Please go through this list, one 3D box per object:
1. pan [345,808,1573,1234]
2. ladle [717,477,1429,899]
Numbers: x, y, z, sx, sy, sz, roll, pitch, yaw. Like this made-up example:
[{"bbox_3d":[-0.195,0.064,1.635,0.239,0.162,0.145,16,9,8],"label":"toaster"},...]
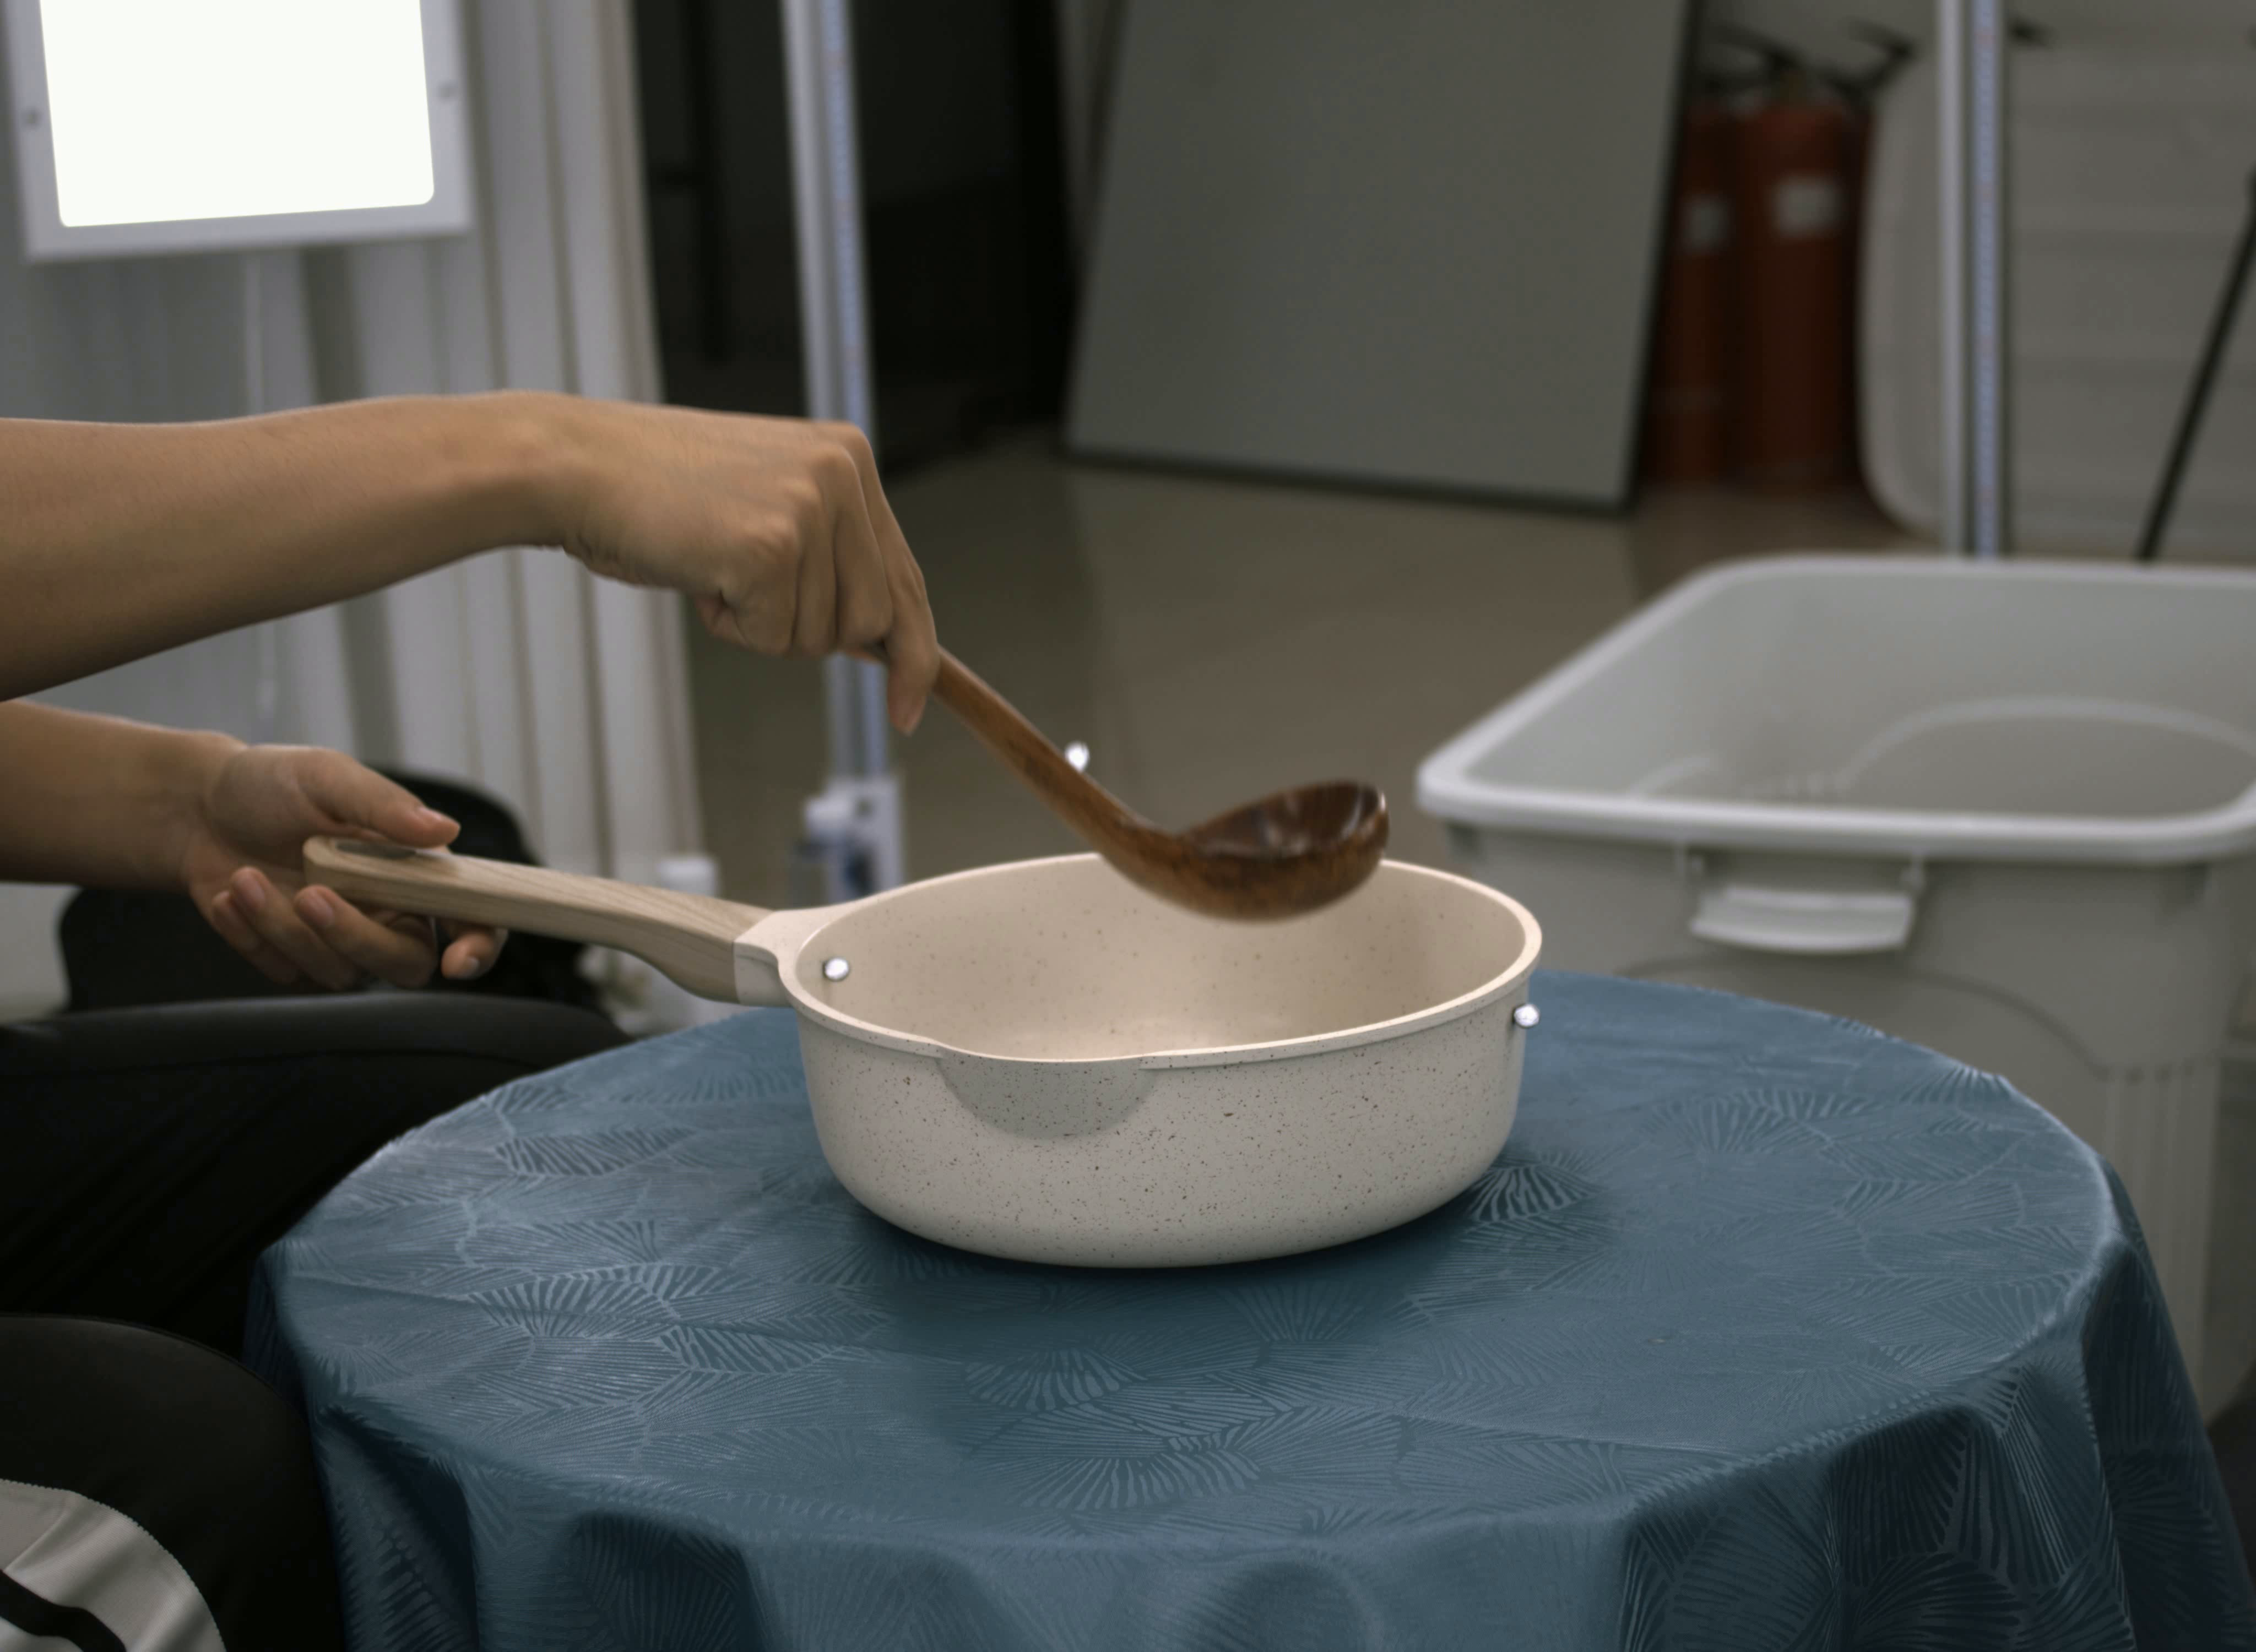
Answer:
[{"bbox_3d":[-0.061,0.057,1.820,0.434,0.103,0.261,1,16,20],"label":"pan"},{"bbox_3d":[-0.012,-0.058,1.750,0.270,0.077,0.083,38,-22,-26],"label":"ladle"}]
